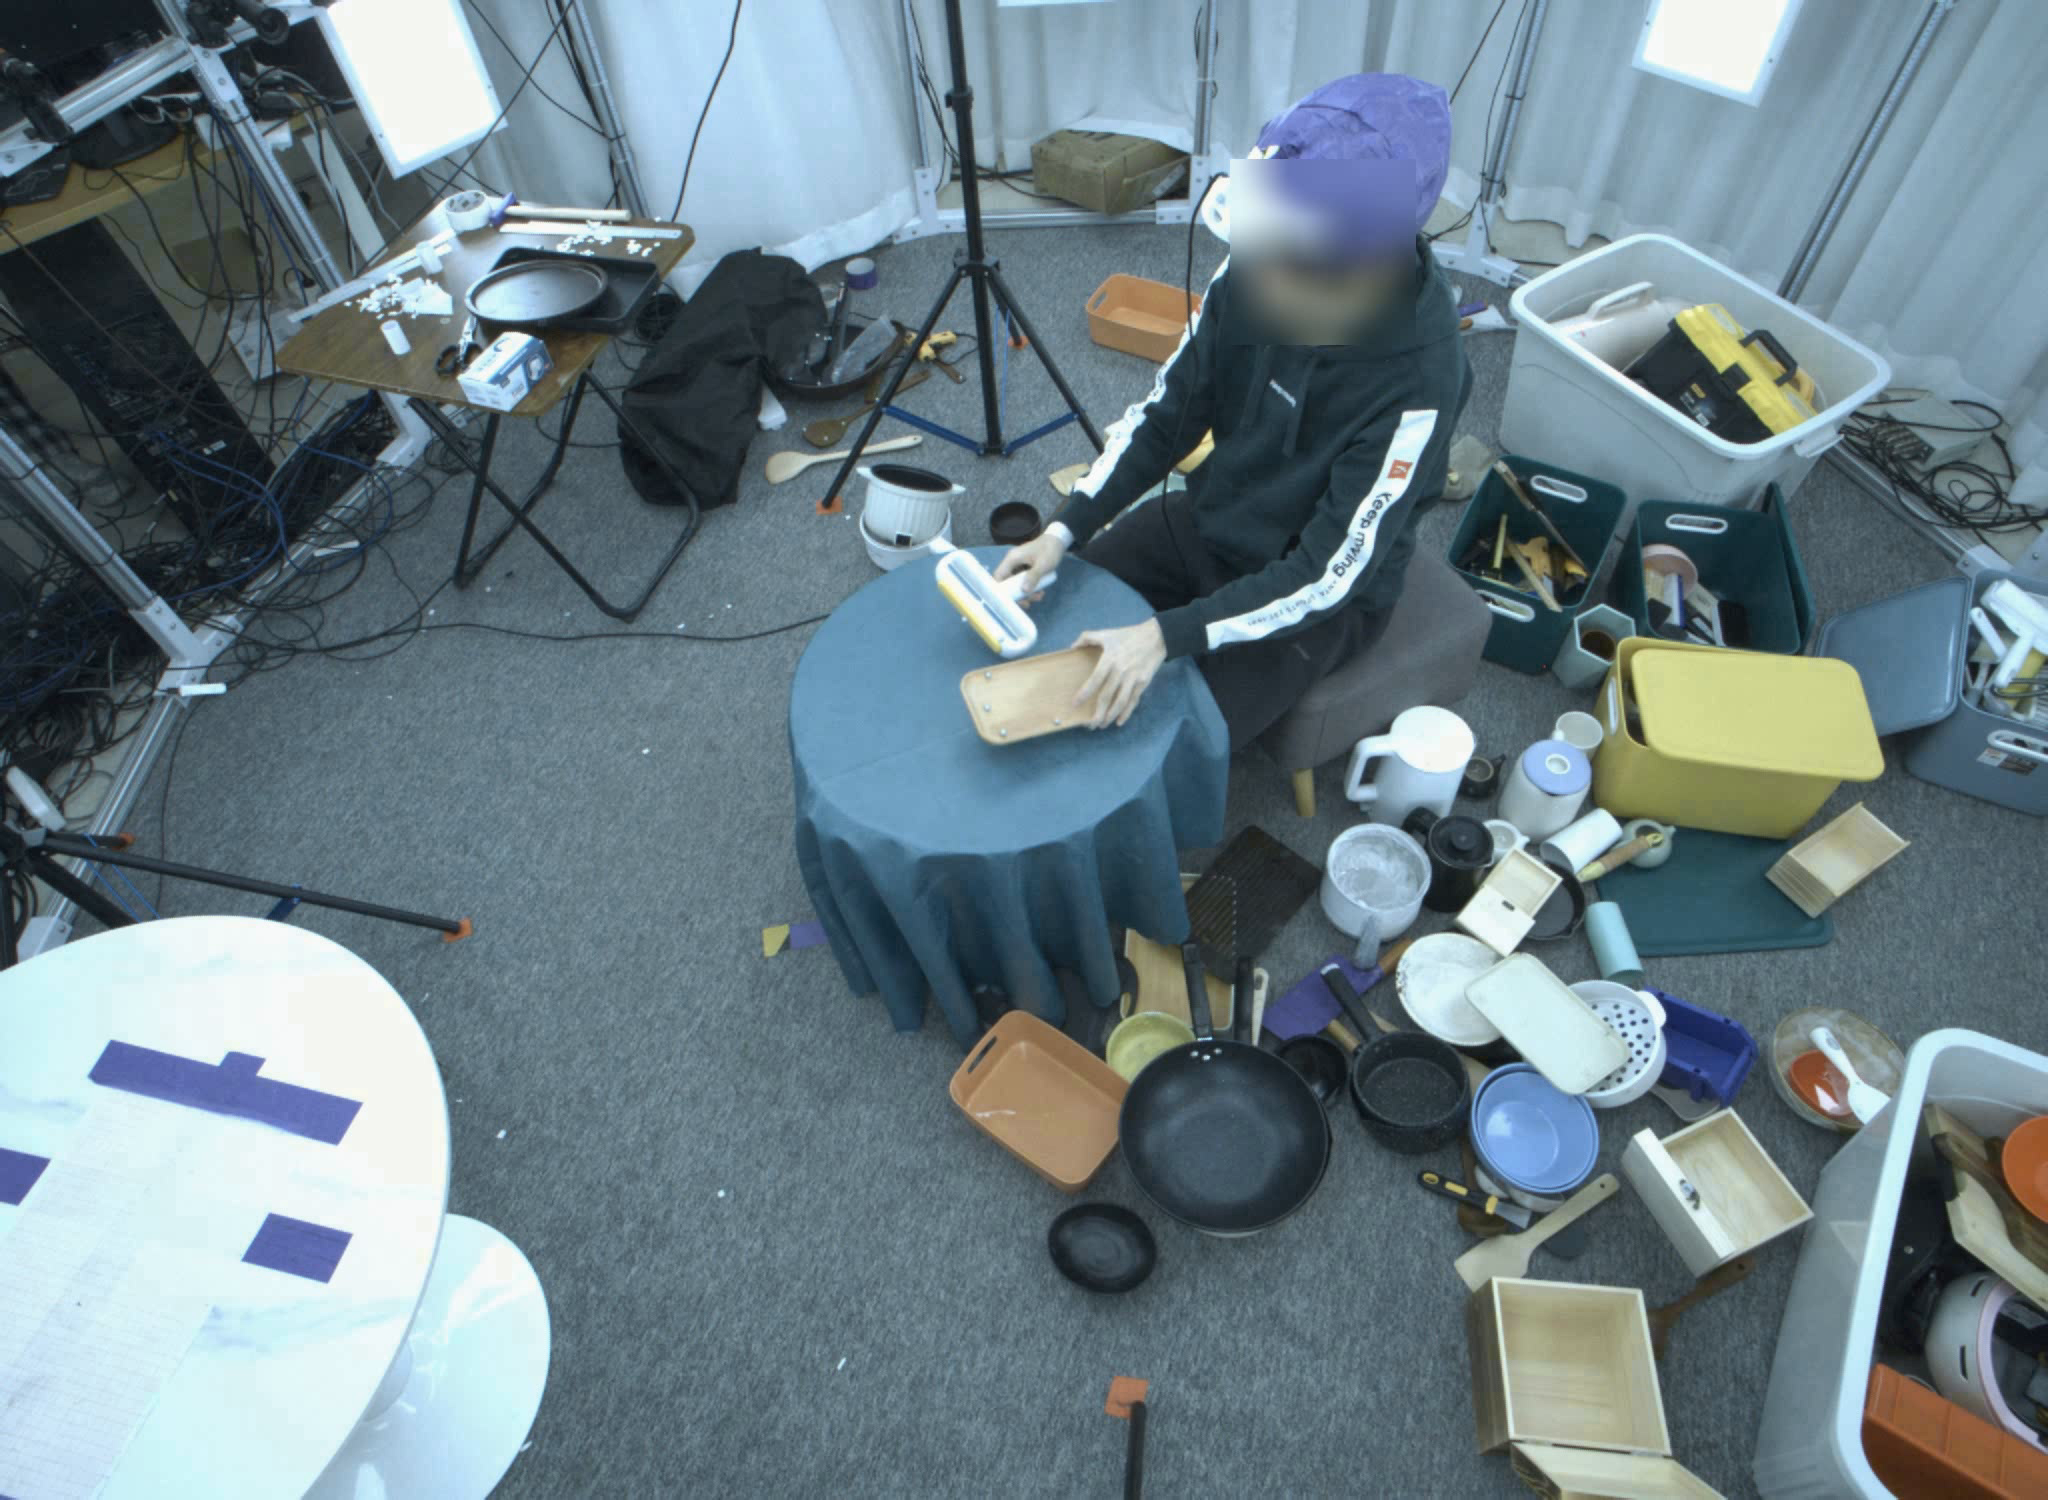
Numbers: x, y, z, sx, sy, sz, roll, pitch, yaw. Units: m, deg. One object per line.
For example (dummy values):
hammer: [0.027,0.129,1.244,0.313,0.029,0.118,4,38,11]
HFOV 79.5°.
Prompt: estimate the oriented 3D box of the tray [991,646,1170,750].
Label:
tray: [0.081,-0.076,1.767,0.254,0.023,0.129,-12,67,-19]

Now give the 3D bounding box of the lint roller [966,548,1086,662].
lint roller: [0.025,-0.231,1.881,0.195,0.074,0.191,-24,71,-37]
